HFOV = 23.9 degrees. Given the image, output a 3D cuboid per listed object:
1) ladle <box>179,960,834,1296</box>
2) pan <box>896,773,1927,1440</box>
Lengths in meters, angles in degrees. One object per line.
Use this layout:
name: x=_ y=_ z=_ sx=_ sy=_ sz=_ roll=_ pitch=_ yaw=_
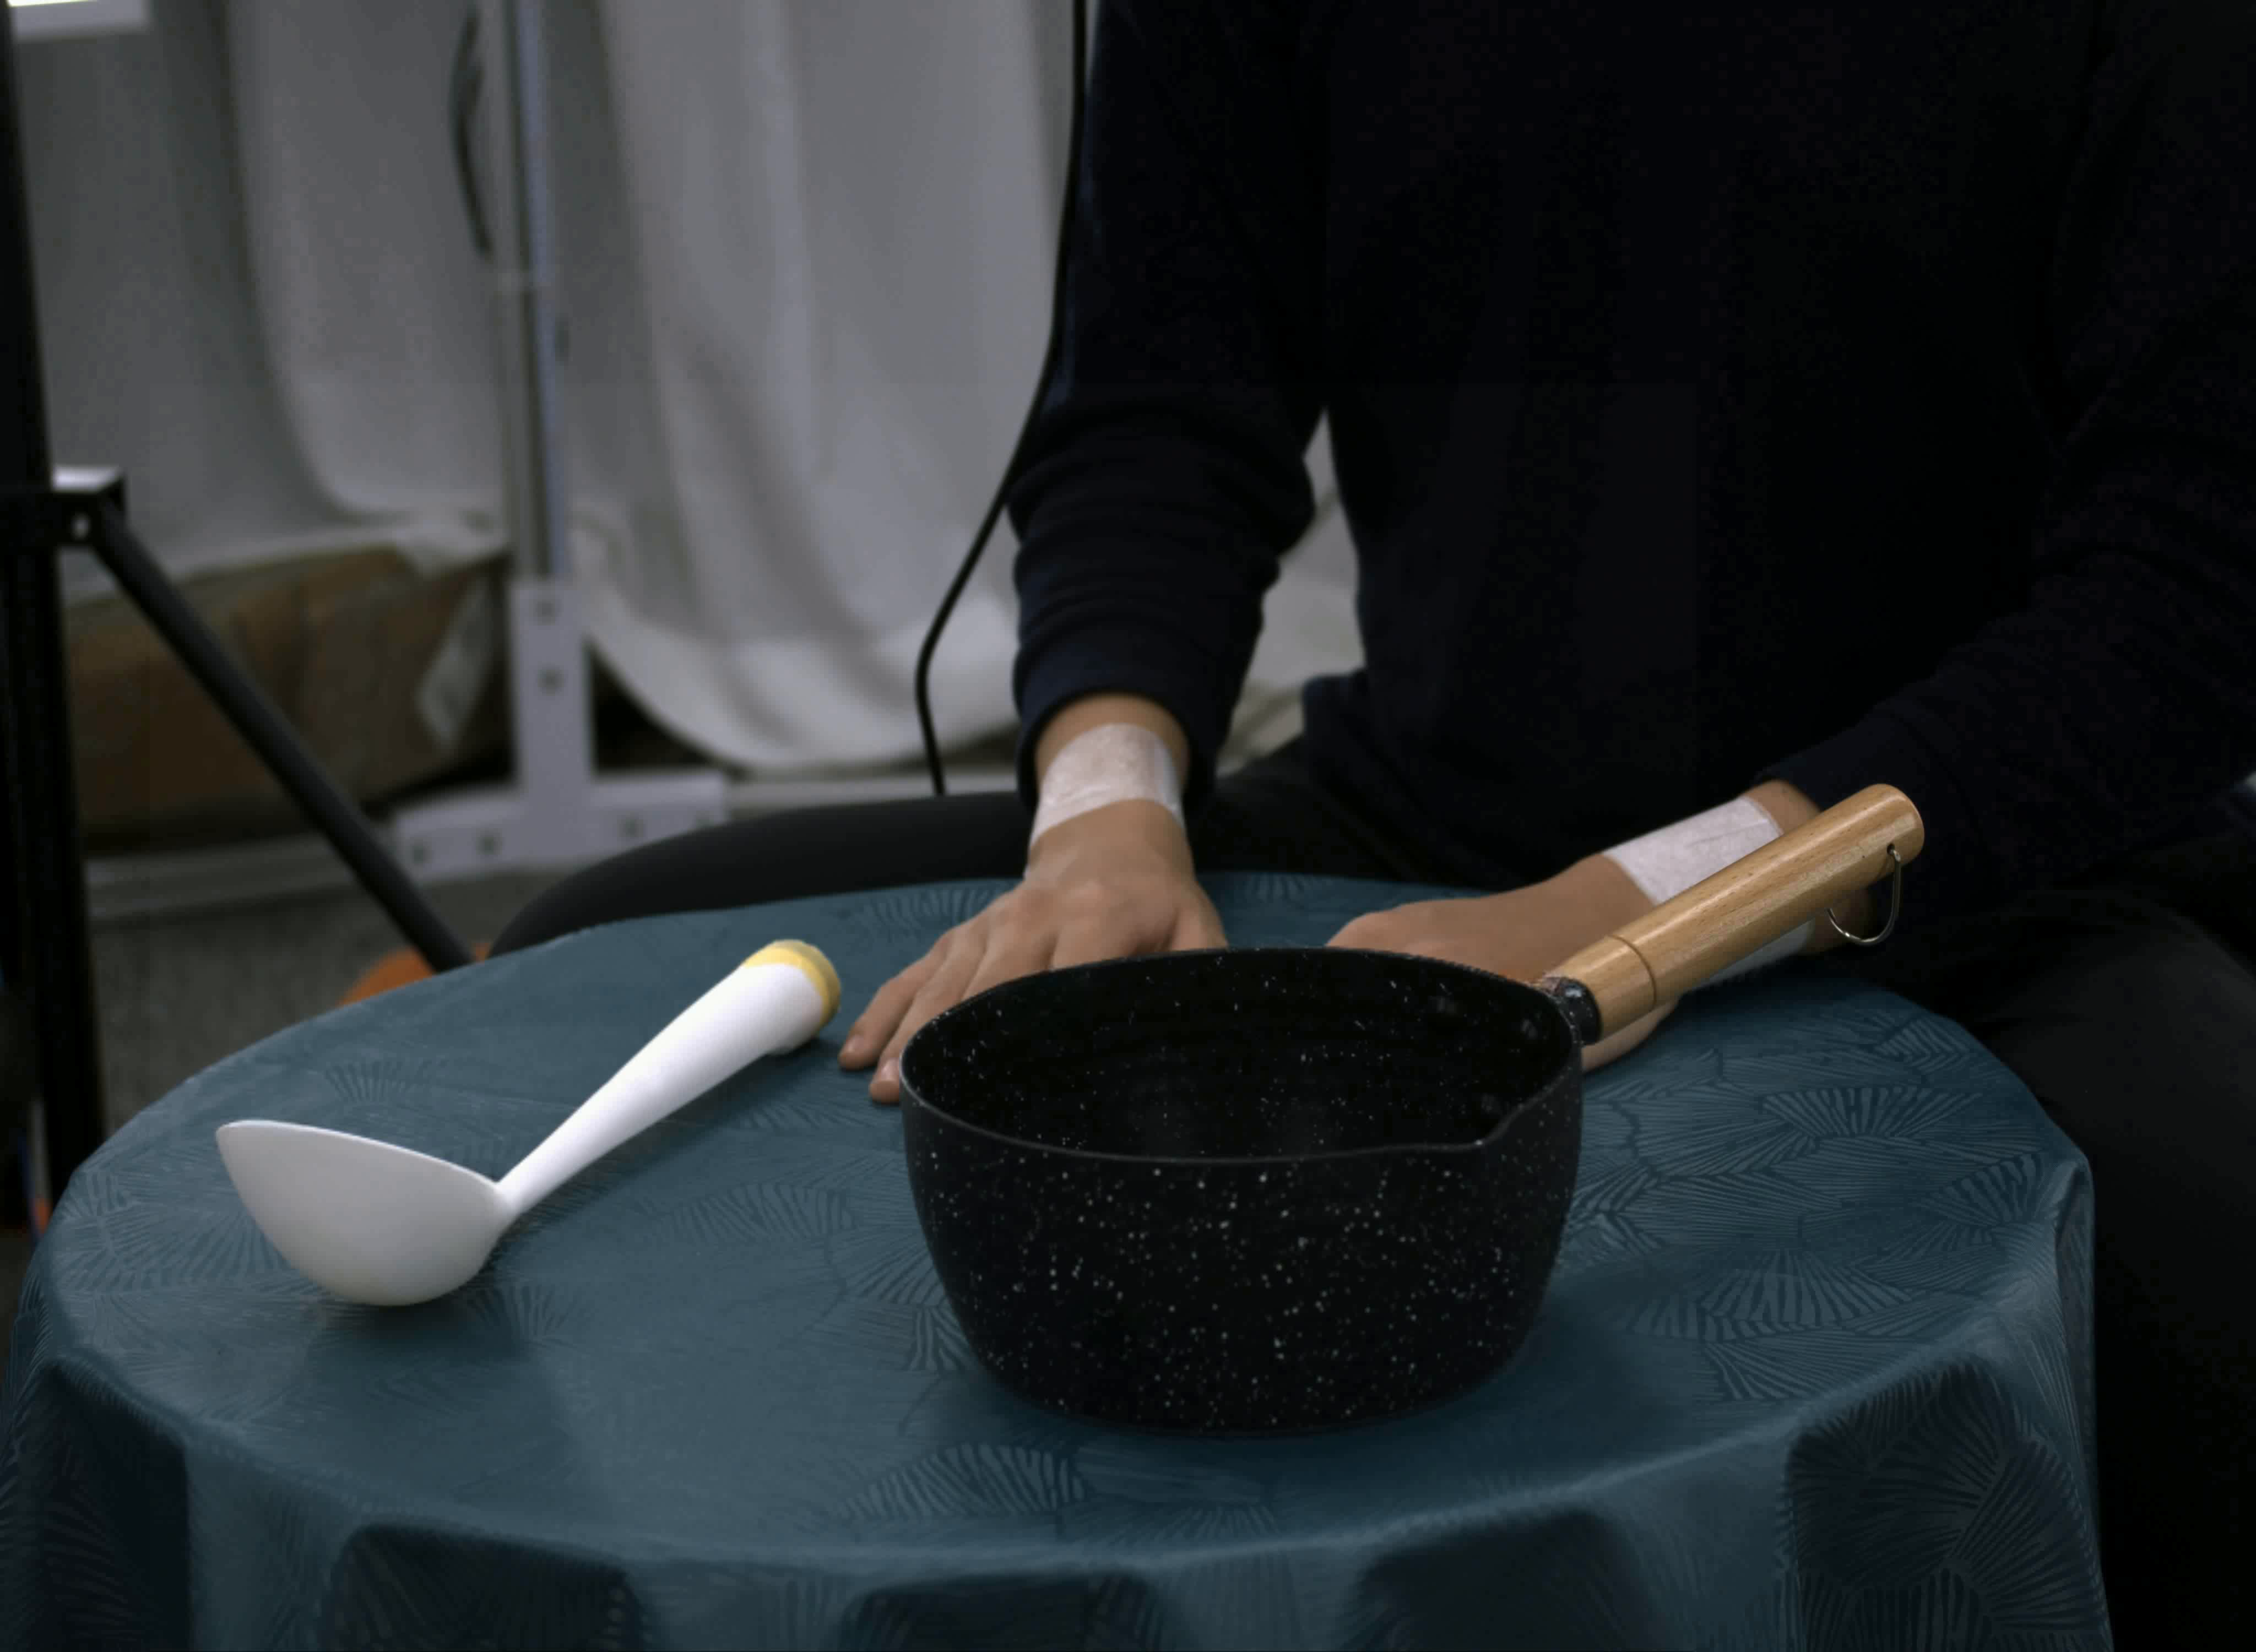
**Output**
ladle: x=-0.171 y=0.075 z=1.588 sx=0.091 sy=0.070 sz=0.288 roll=-2 pitch=13 yaw=27
pan: x=0.093 y=0.072 z=1.470 sx=0.335 sy=0.108 sz=0.212 roll=-16 pitch=19 yaw=-34
